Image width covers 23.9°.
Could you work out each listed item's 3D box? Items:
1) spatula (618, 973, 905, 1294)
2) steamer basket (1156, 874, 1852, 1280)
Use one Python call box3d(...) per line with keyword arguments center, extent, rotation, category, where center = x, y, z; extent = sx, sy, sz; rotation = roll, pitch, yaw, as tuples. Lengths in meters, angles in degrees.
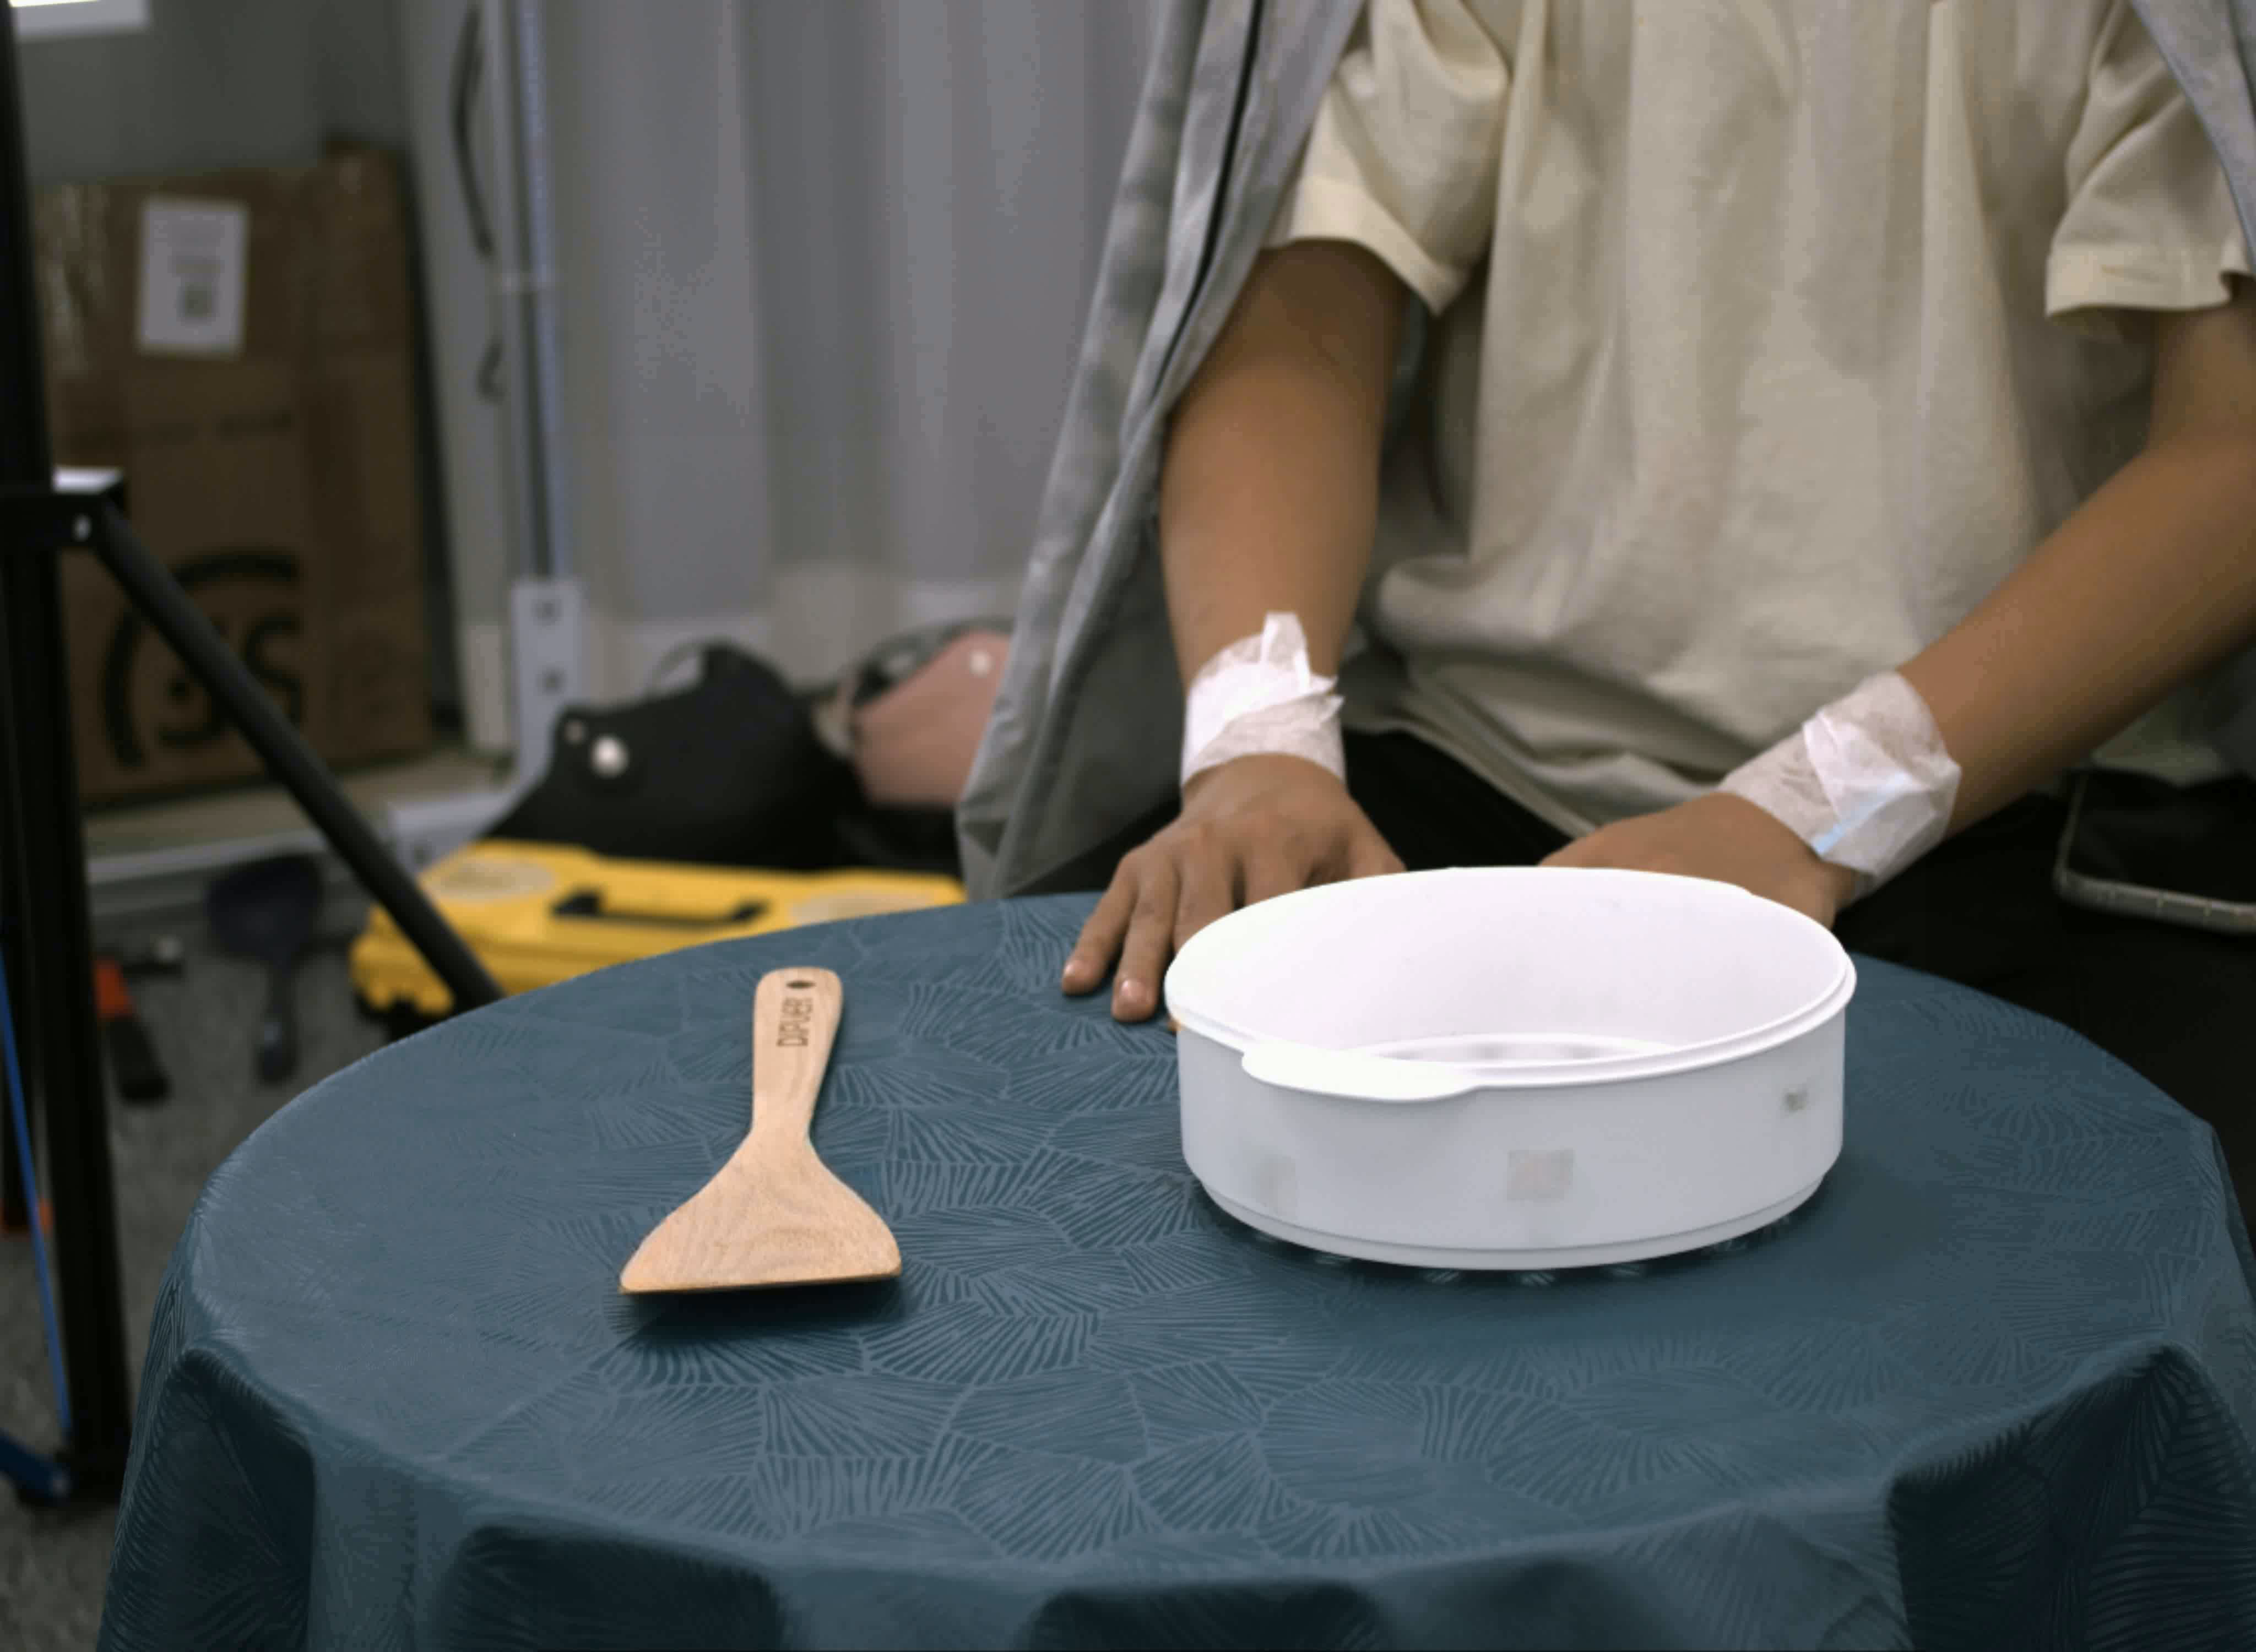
box3d(center=(-0.105, 0.090, 1.607), extent=(0.079, 0.016, 0.329), rotation=(-2, 15, -1), category="spatula")
box3d(center=(0.109, 0.073, 1.542), extent=(0.205, 0.069, 0.226), rotation=(8, 18, 30), category="steamer basket")
